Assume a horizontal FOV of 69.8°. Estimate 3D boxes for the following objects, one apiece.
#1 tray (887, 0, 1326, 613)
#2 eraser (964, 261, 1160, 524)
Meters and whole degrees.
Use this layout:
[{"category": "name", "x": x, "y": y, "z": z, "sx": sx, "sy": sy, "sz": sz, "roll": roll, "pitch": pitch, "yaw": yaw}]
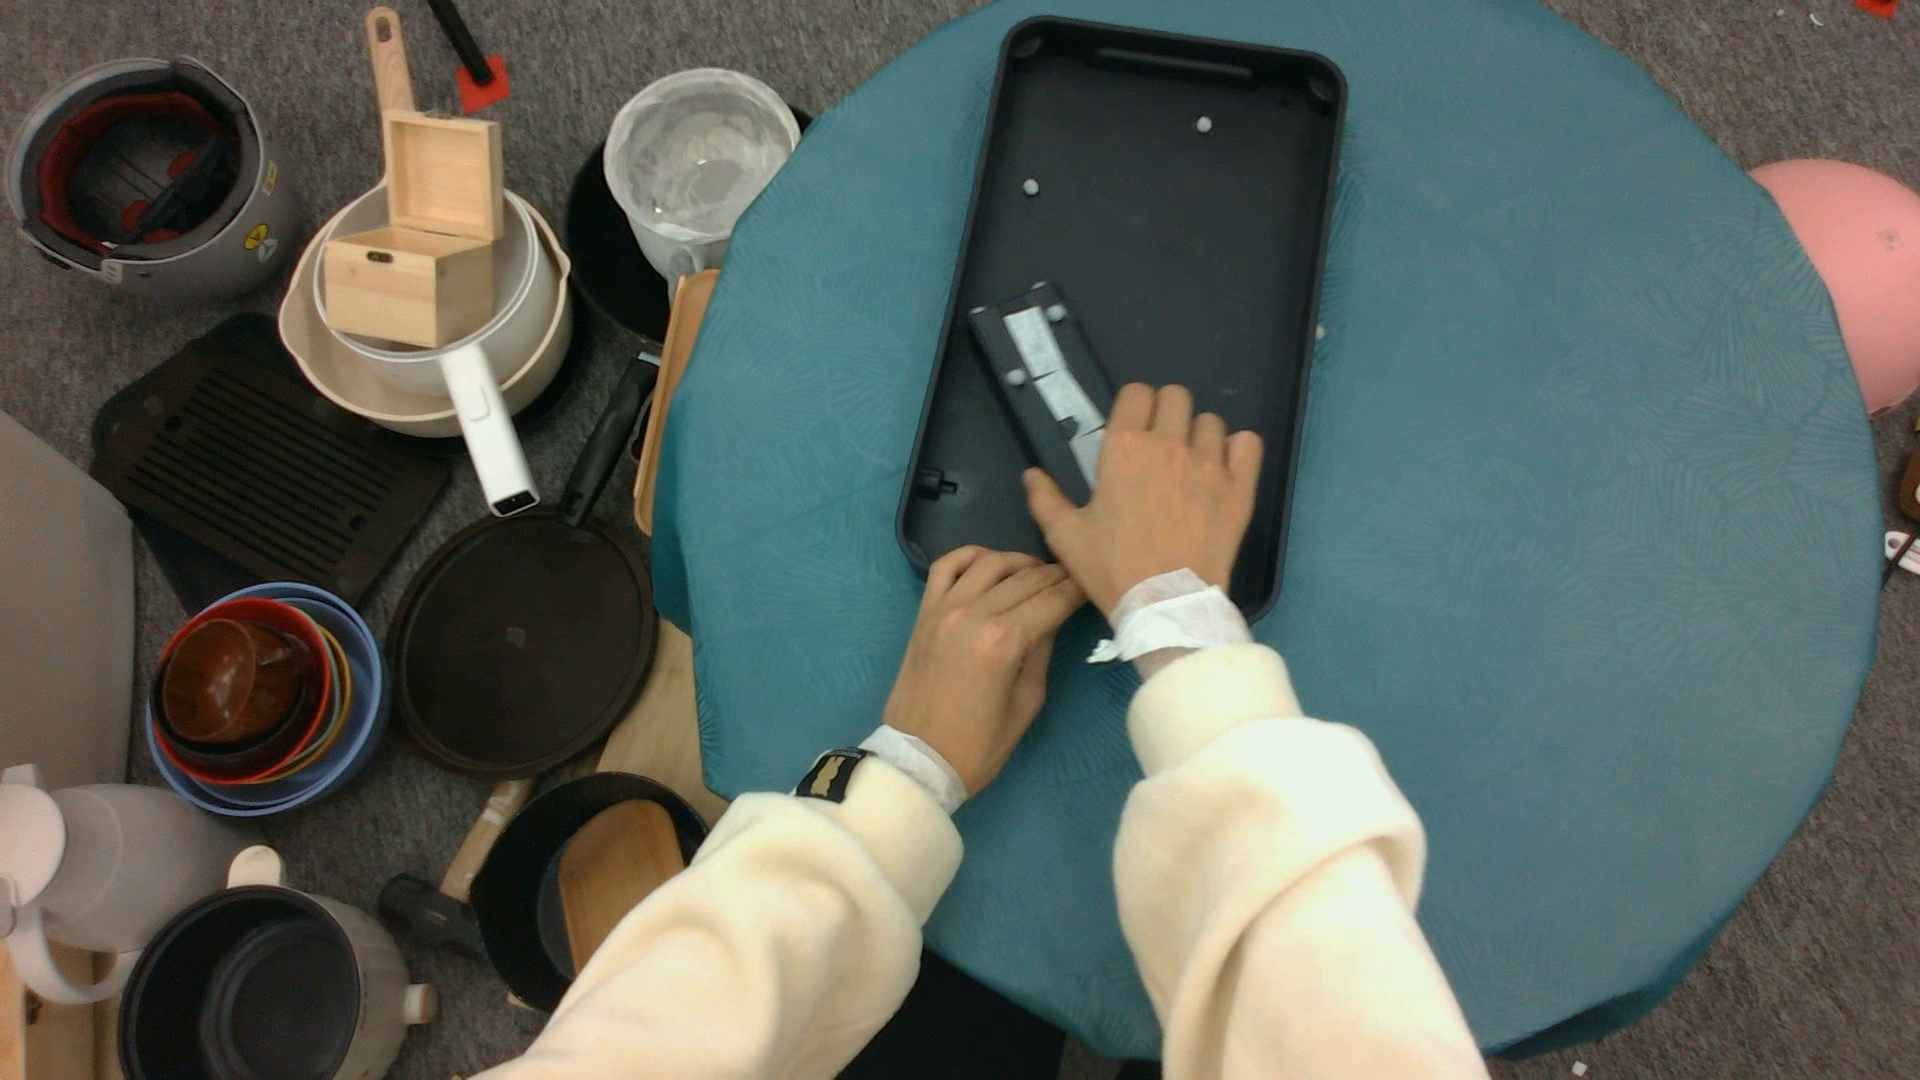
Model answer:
[{"category": "tray", "x": 0.079, "y": -0.126, "z": 0.701, "sx": 0.184, "sy": 0.037, "sz": 0.319, "roll": 9, "pitch": 72, "yaw": 4}, {"category": "eraser", "x": 0.049, "y": -0.073, "z": 0.681, "sx": 0.053, "sy": 0.030, "sz": 0.126, "roll": -24, "pitch": 71, "yaw": 1}]
